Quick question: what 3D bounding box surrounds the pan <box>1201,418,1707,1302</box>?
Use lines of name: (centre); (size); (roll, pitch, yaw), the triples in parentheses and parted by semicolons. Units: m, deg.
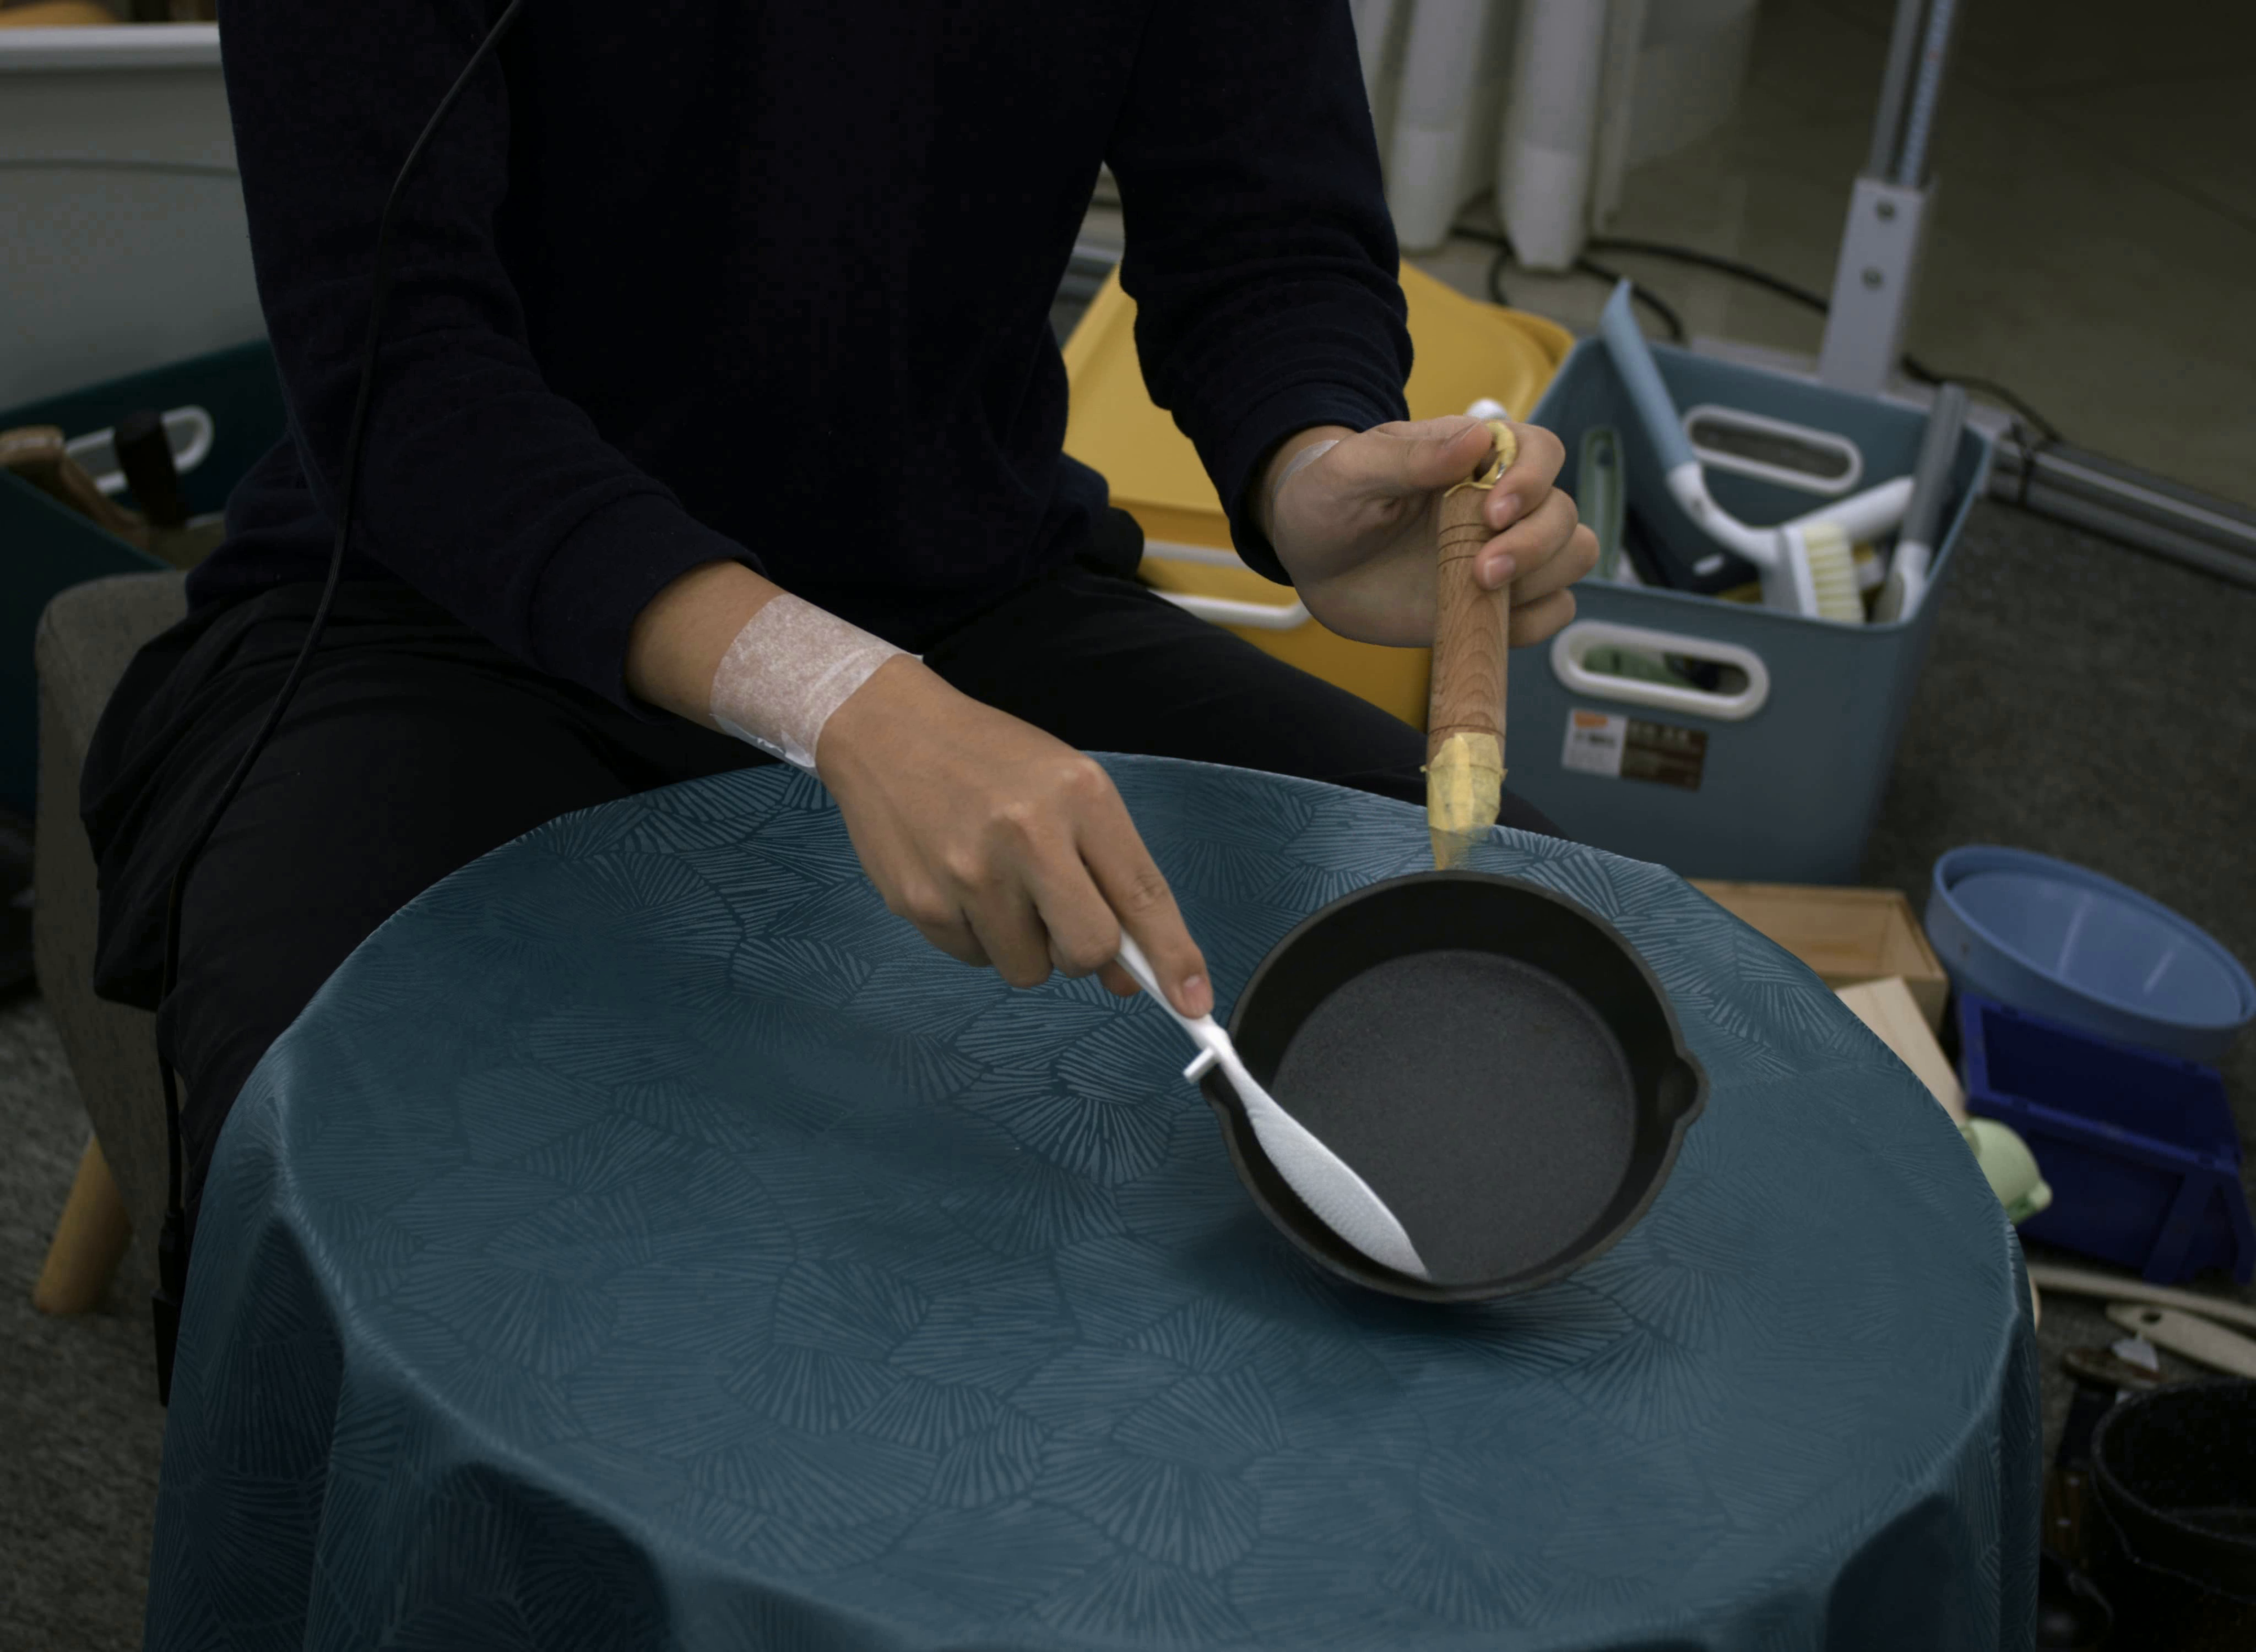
pan: (0.116, 0.012, 1.810); (0.169, 0.049, 0.326); (3, 65, 7)

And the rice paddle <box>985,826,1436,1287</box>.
rice paddle: (0.032, 0.079, 1.765); (0.206, 0.029, 0.068); (45, -6, 17)
